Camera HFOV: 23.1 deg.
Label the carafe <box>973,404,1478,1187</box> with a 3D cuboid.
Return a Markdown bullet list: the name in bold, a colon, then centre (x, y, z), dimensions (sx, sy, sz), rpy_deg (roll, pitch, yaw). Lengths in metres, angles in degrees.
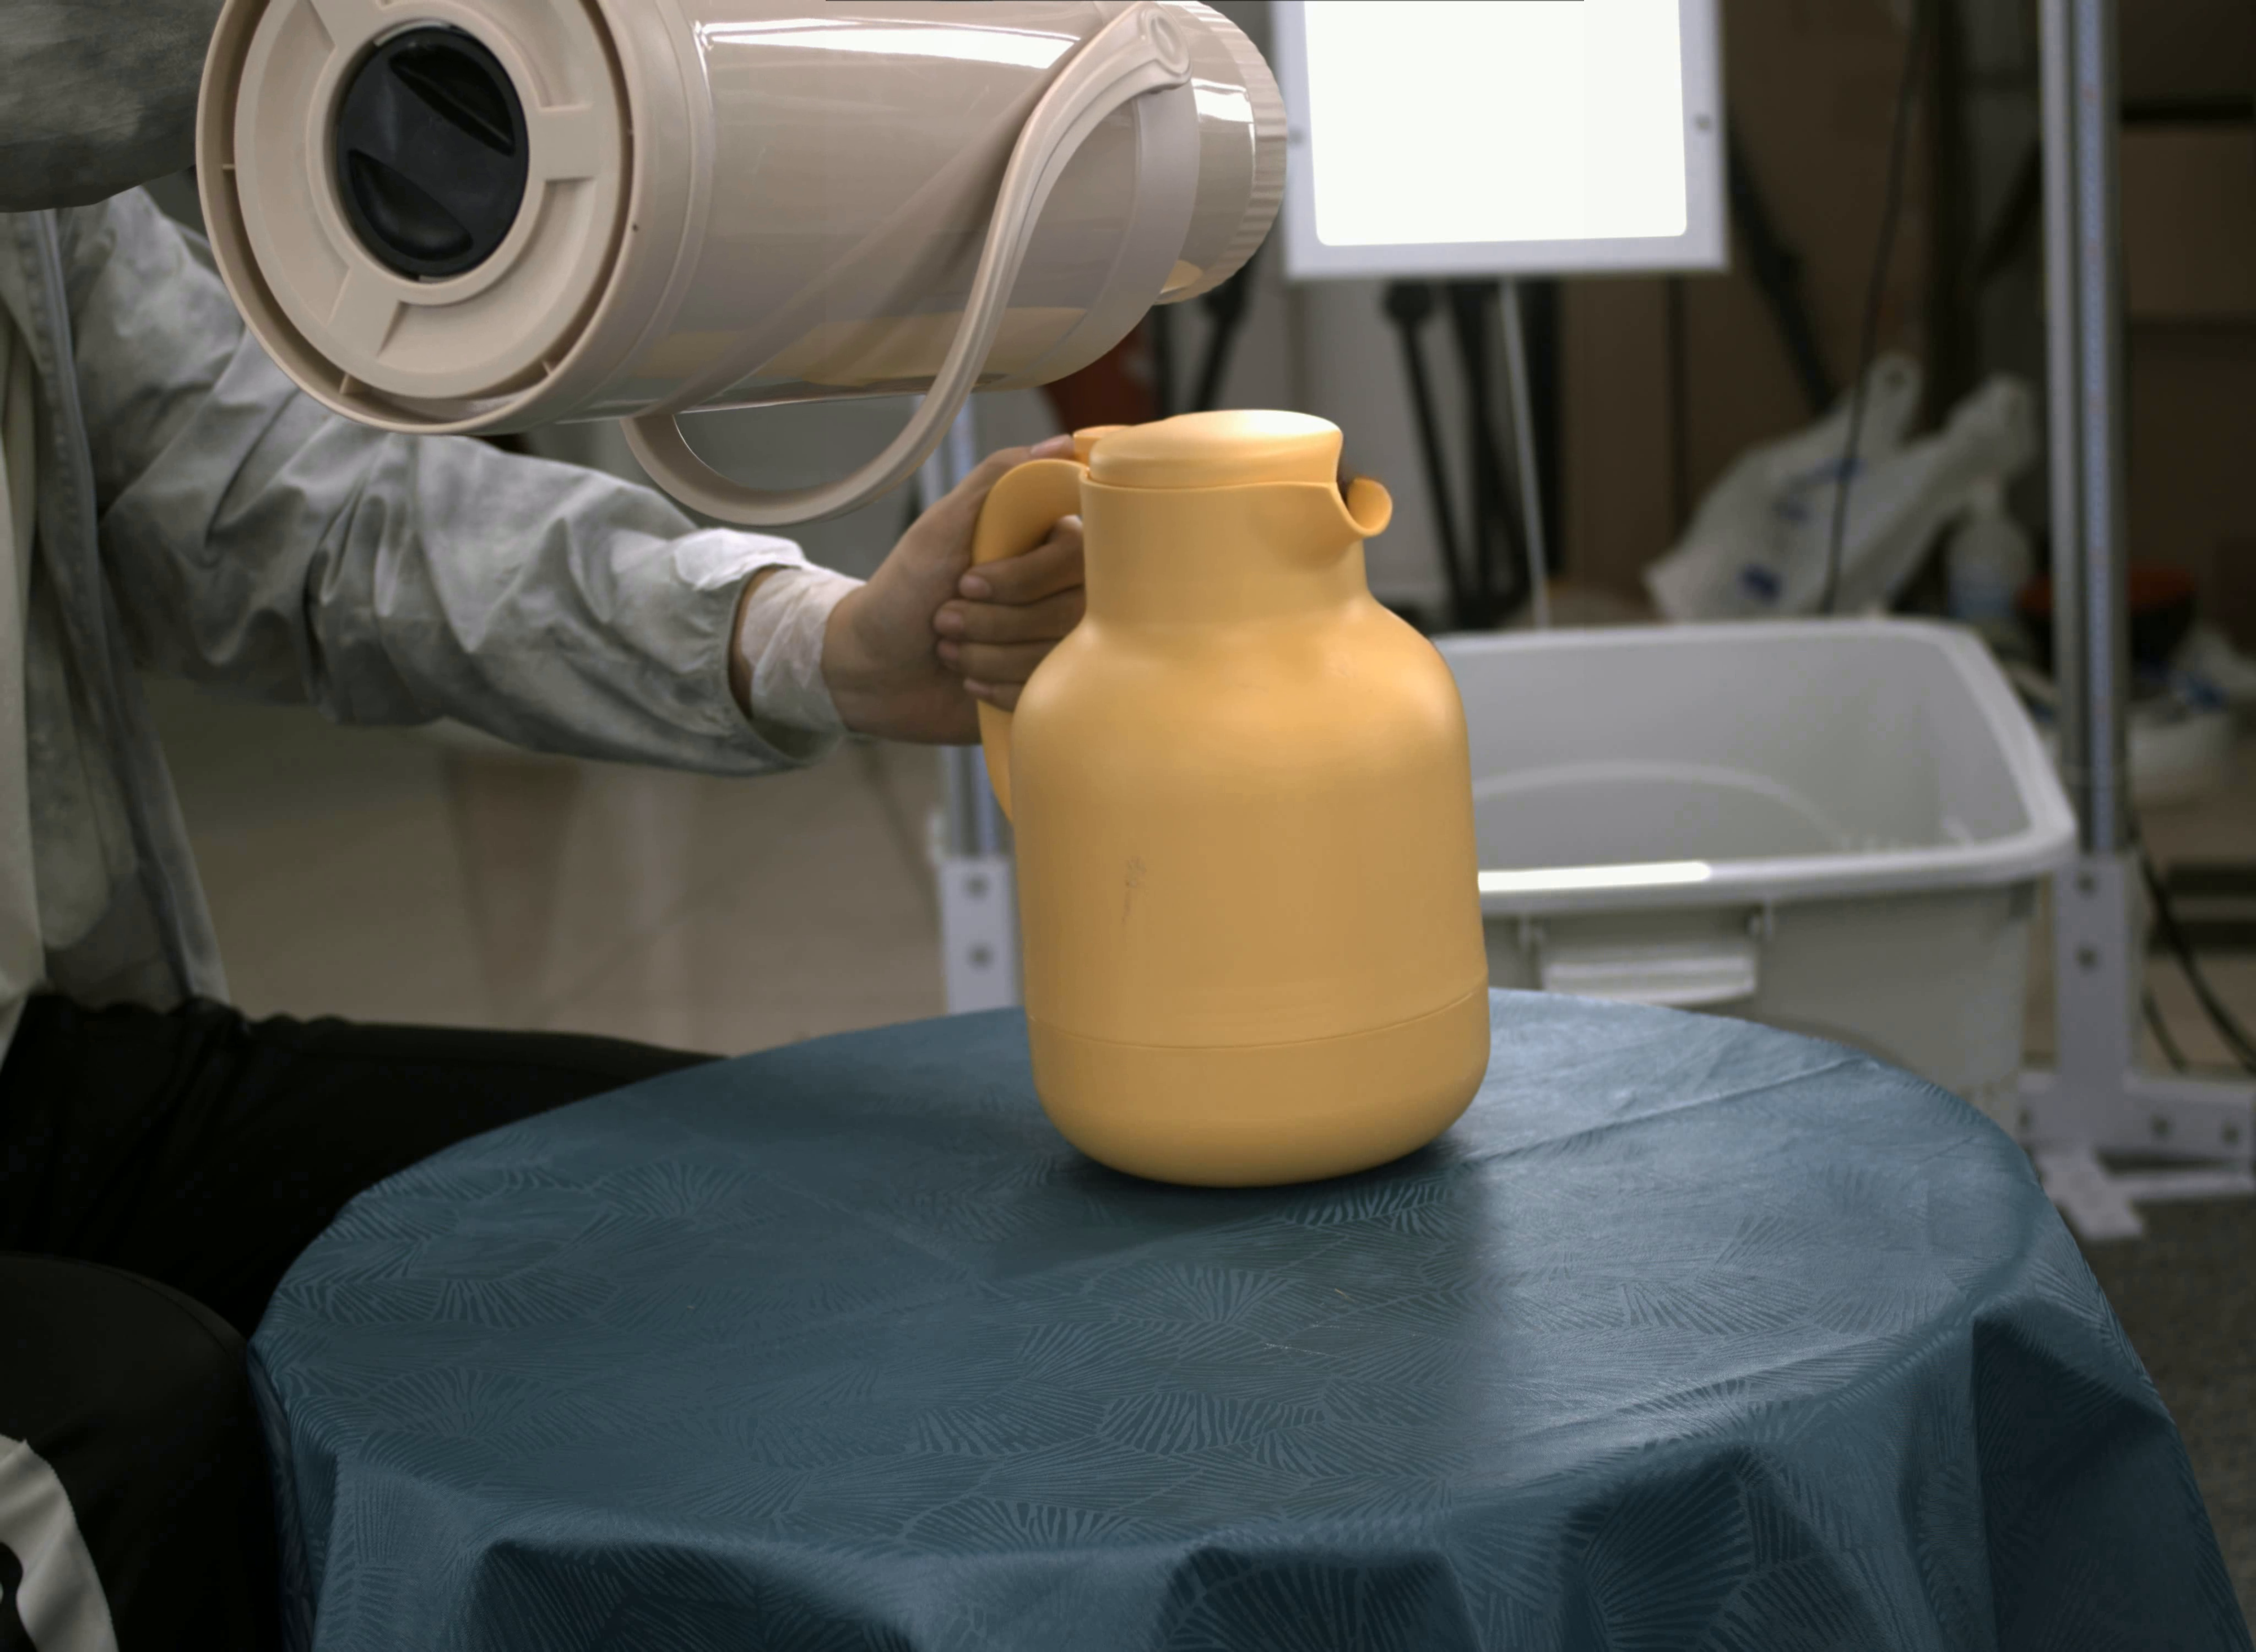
- **carafe**: centre (0.026, -0.017, 1.924), dimensions (0.159, 0.261, 0.207), rpy_deg (-13, 17, -39)

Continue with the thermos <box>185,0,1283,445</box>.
- **thermos**: centre (-0.104, -0.222, 1.693), dimensions (0.179, 0.207, 0.396), rpy_deg (-23, -7, 35)
